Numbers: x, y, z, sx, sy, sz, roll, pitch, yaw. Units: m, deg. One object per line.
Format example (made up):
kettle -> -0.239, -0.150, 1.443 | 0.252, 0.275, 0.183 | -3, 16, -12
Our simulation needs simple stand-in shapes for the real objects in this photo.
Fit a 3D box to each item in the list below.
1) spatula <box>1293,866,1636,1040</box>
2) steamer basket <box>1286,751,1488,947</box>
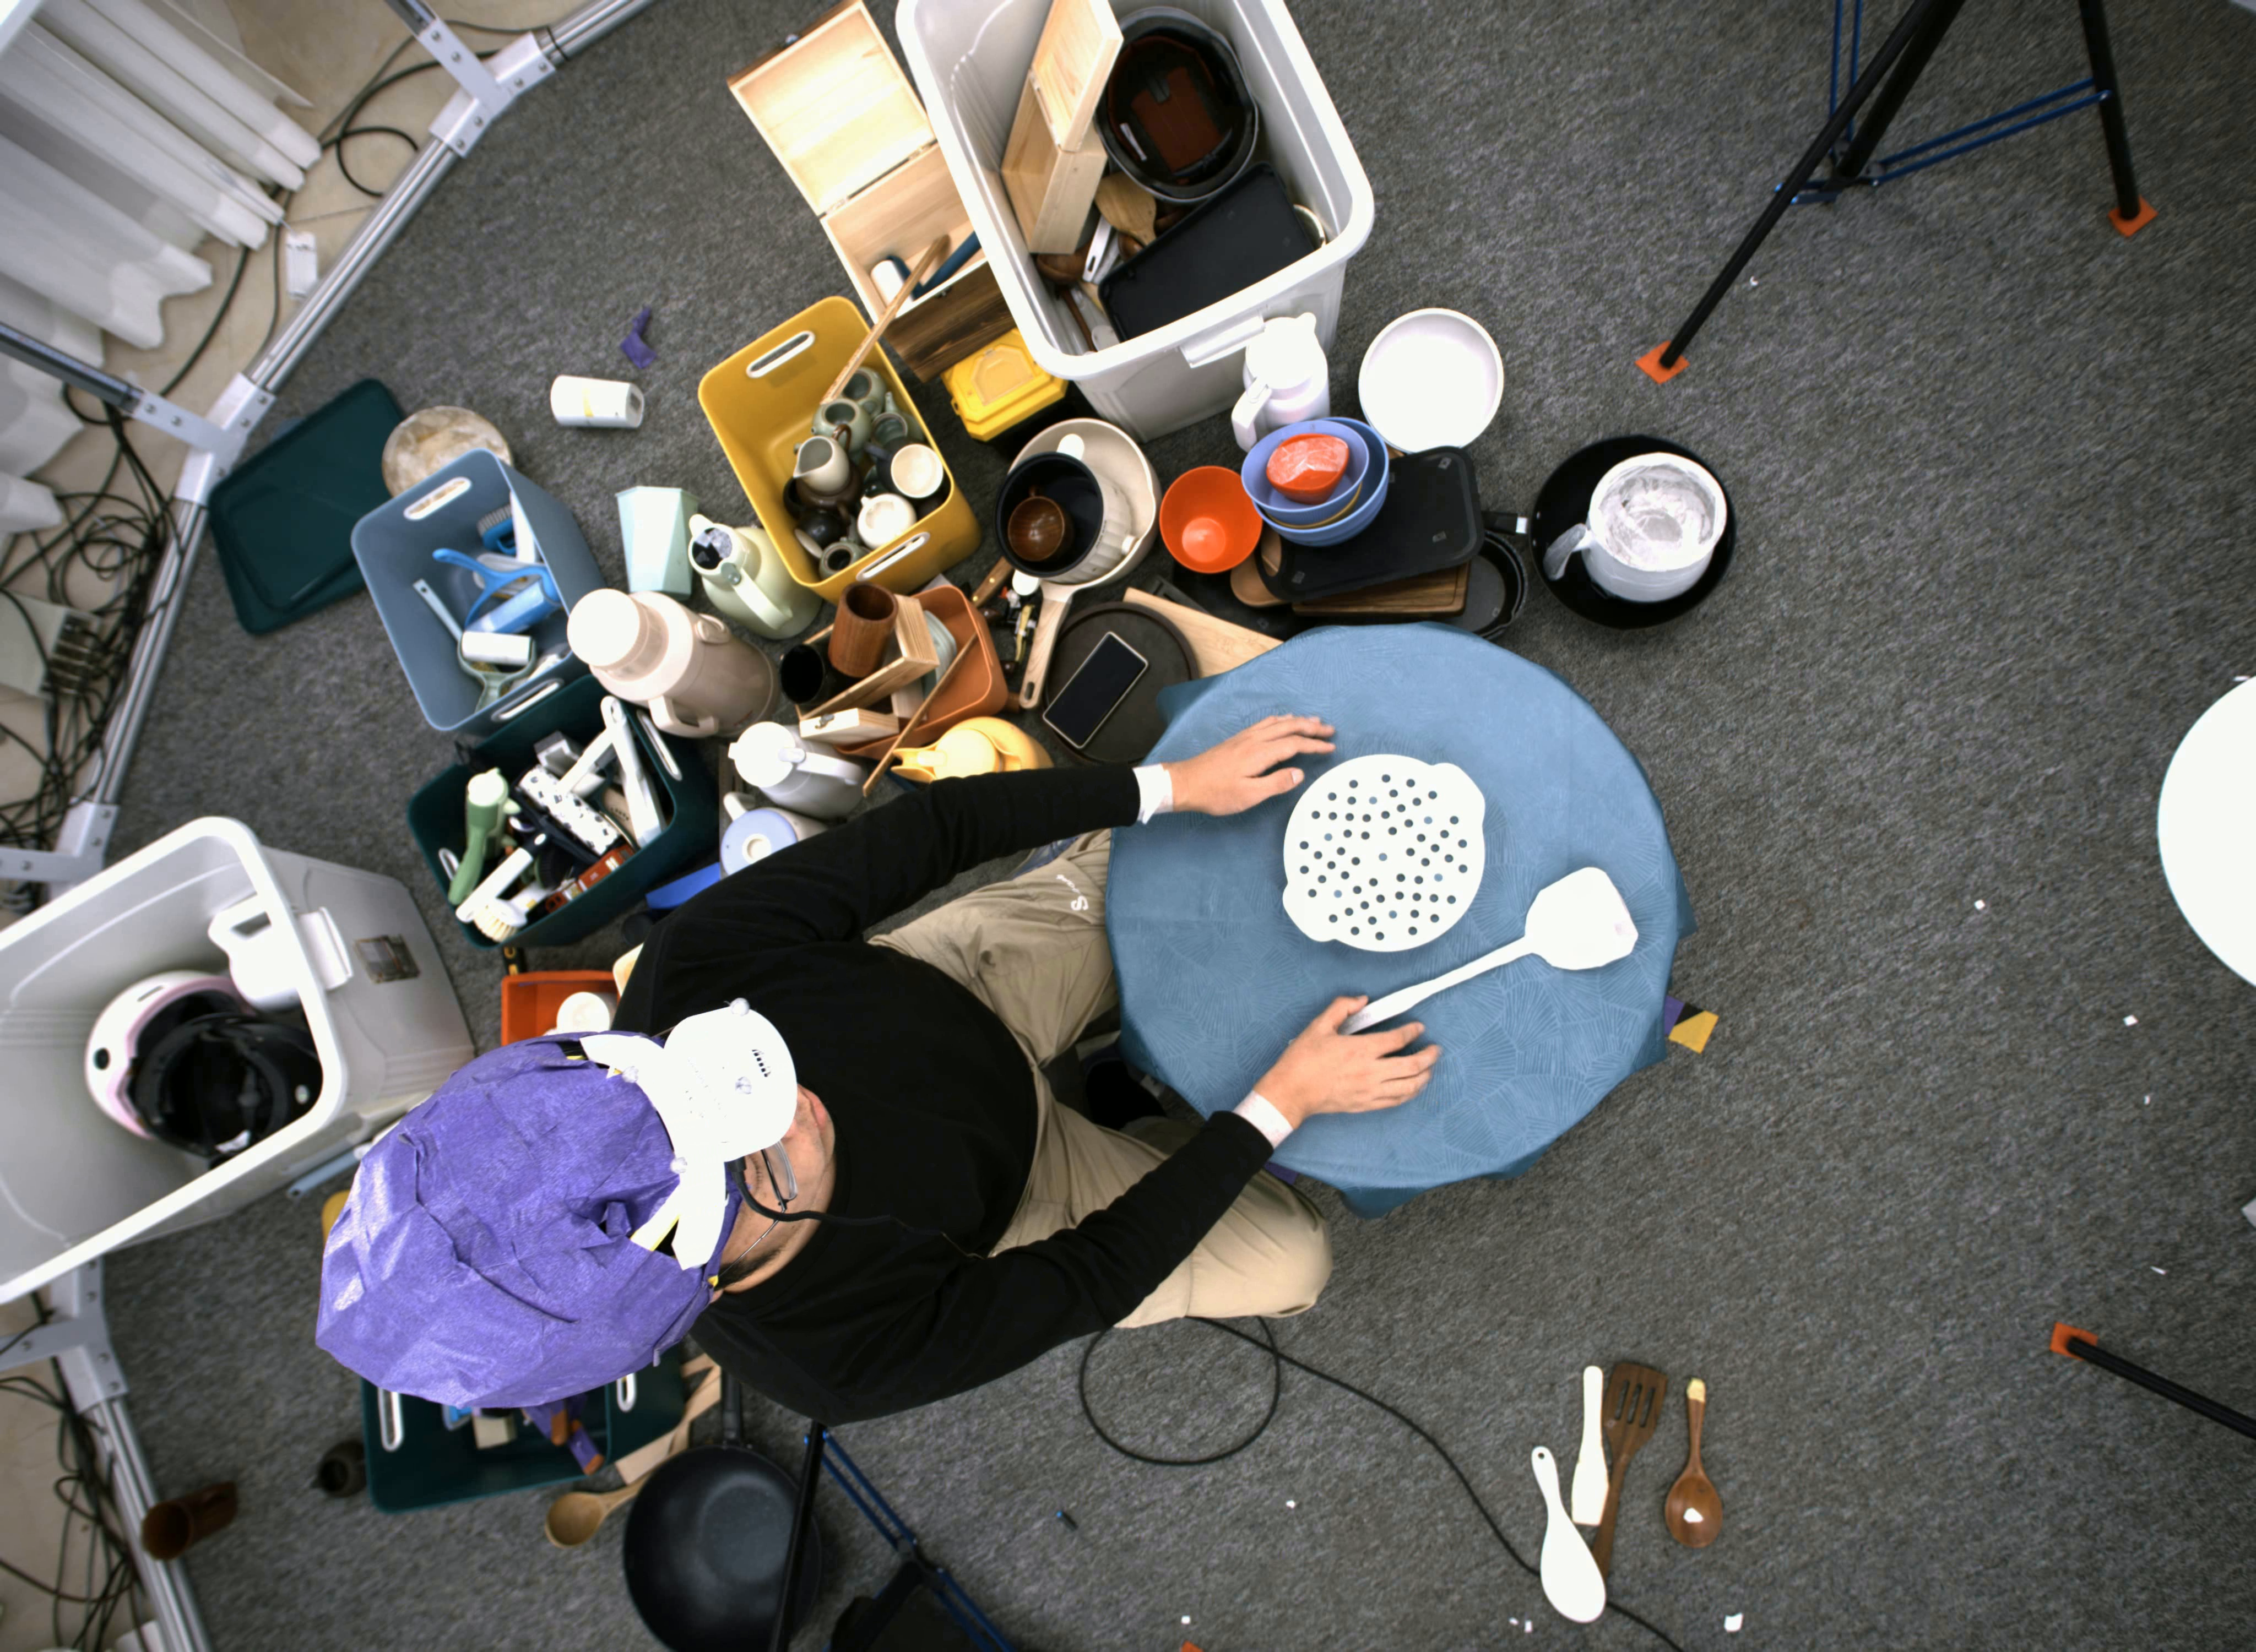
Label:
spatula -> 0.340, 0.149, 1.424 | 0.367, 0.045, 0.098 | -24, 84, 8
steamer basket -> 0.268, 0.024, 1.427 | 0.232, 0.069, 0.201 | -39, 80, 7
